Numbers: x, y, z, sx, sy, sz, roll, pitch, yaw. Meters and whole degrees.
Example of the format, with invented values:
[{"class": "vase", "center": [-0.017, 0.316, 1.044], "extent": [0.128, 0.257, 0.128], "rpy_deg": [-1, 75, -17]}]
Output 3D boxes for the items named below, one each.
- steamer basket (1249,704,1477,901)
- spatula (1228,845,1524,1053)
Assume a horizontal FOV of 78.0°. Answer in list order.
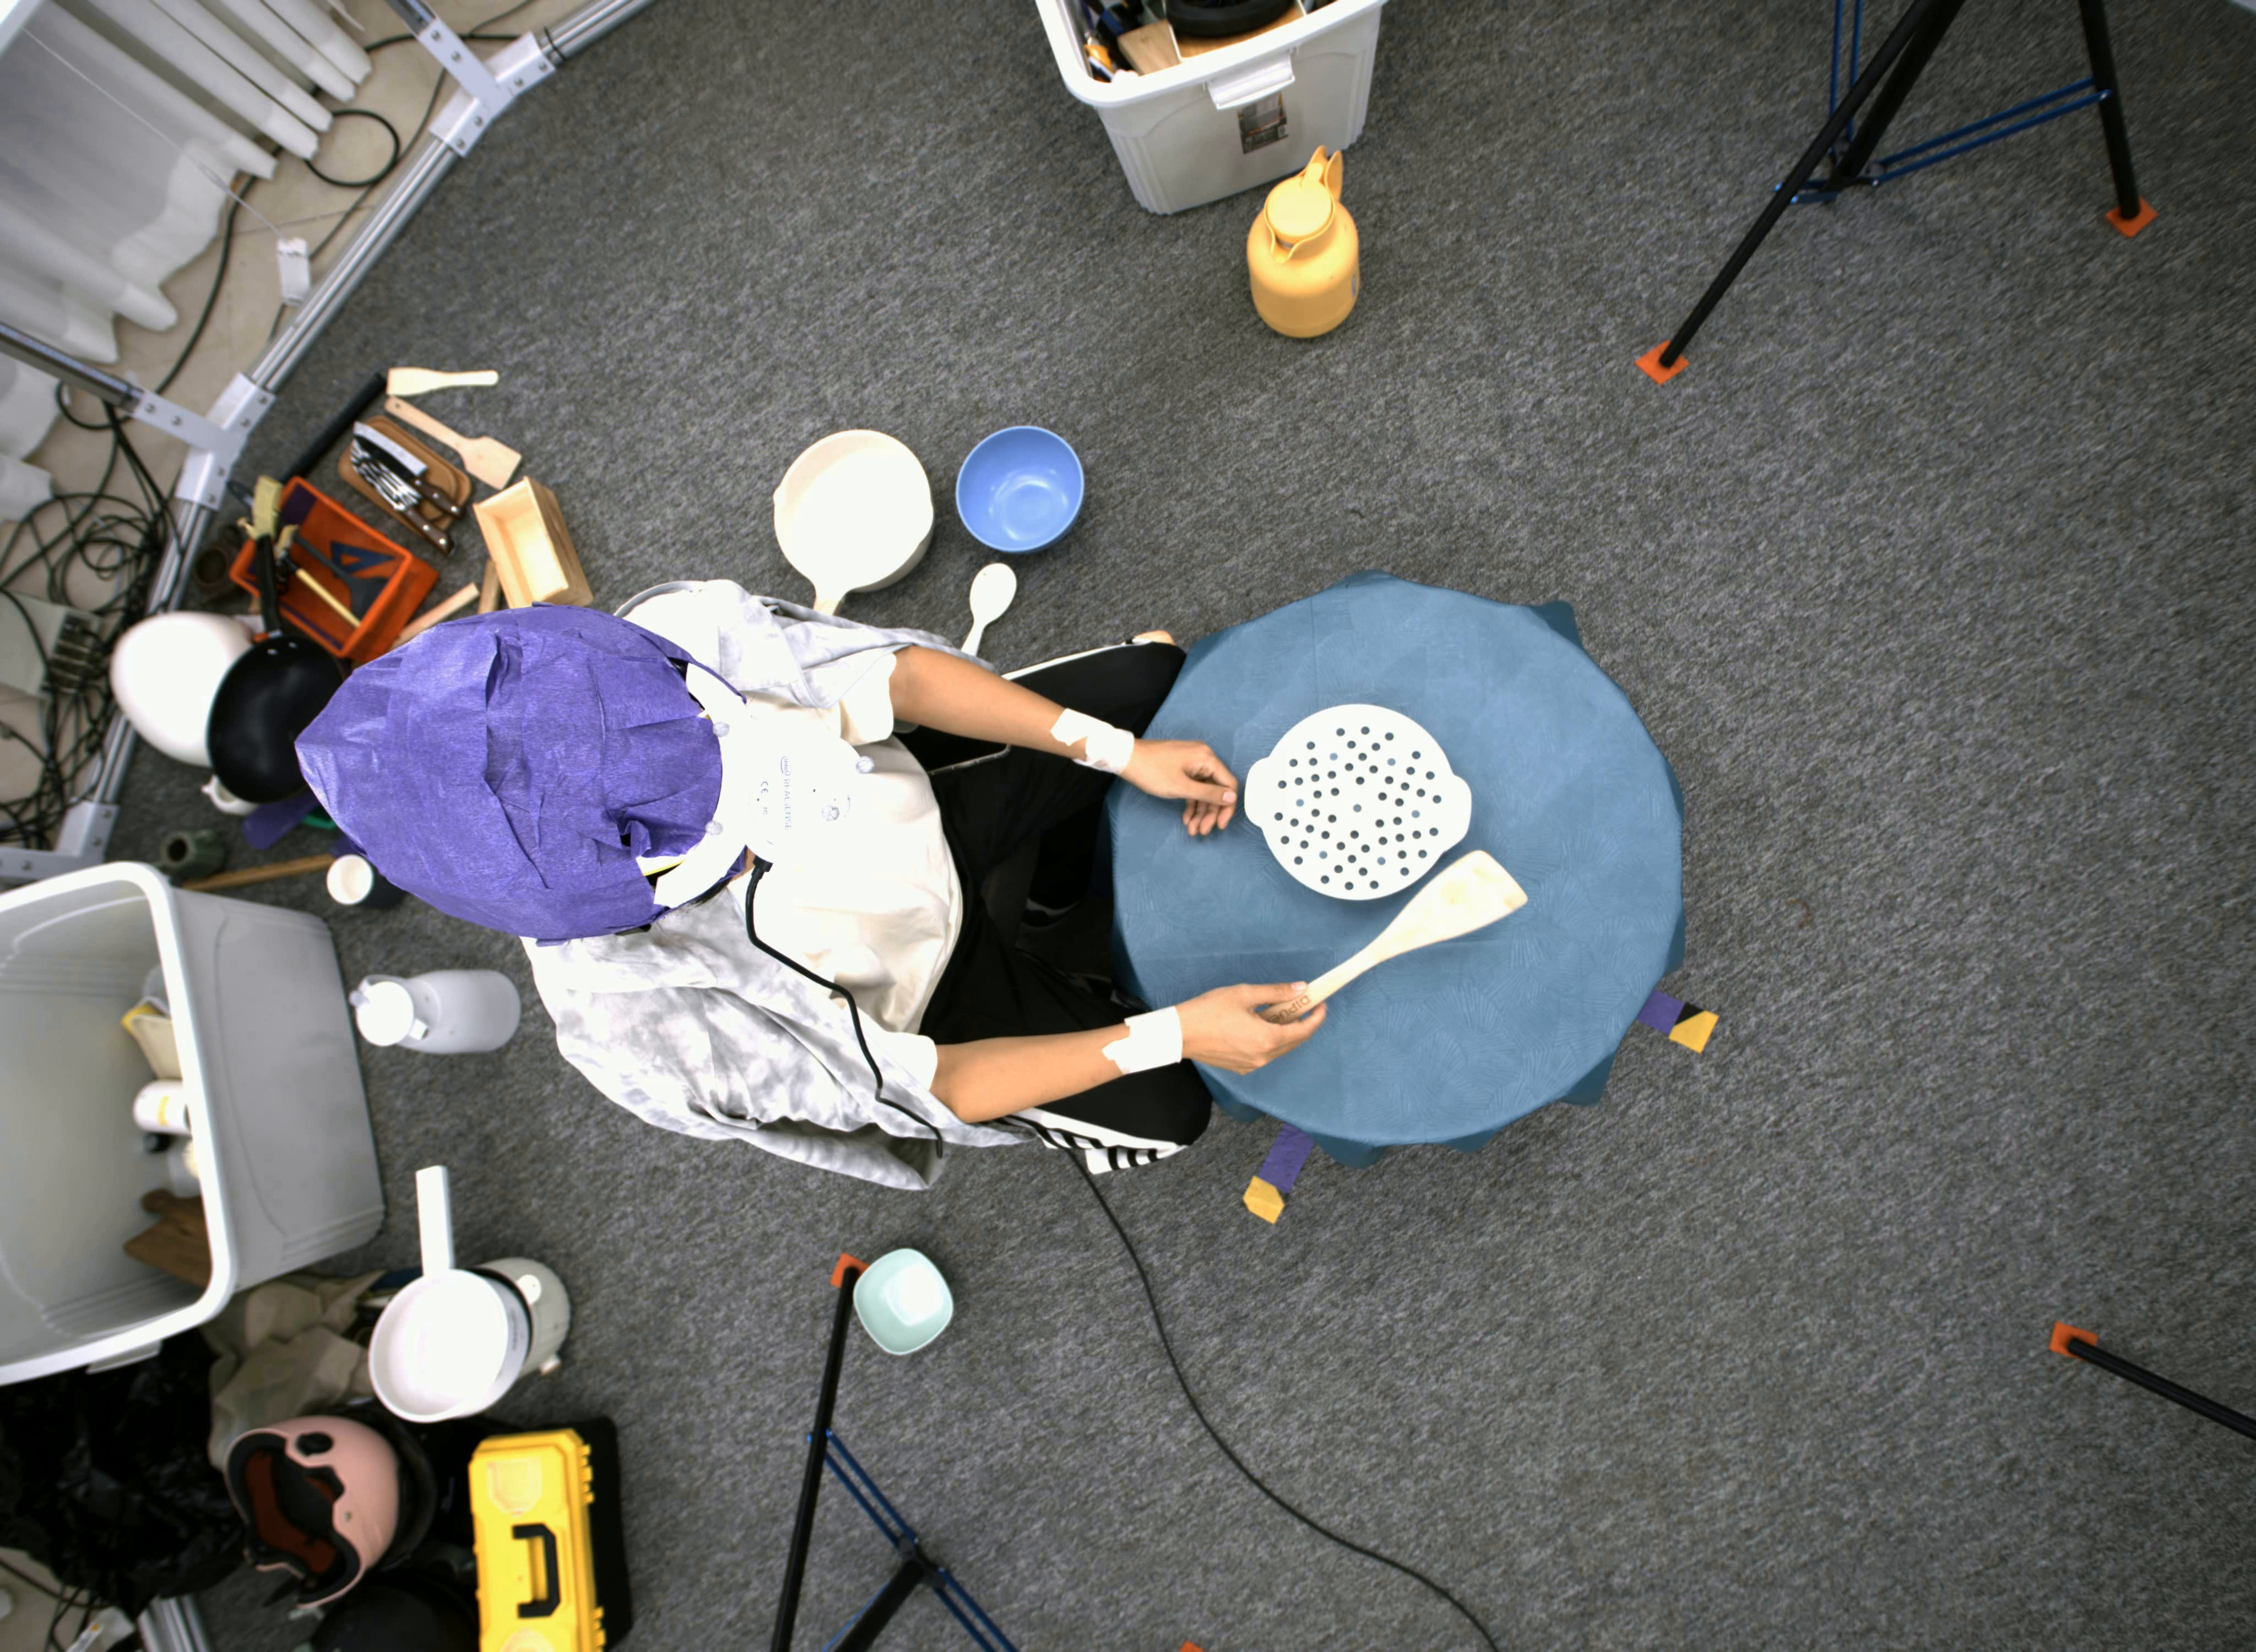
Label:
[{"class": "steamer basket", "center": [0.242, -0.023, 1.433], "extent": [0.231, 0.069, 0.201], "rpy_deg": [6, 85, 10]}, {"class": "spatula", "center": [0.234, 0.127, 1.356], "extent": [0.330, 0.016, 0.081], "rpy_deg": [-36, 116, 9]}]
